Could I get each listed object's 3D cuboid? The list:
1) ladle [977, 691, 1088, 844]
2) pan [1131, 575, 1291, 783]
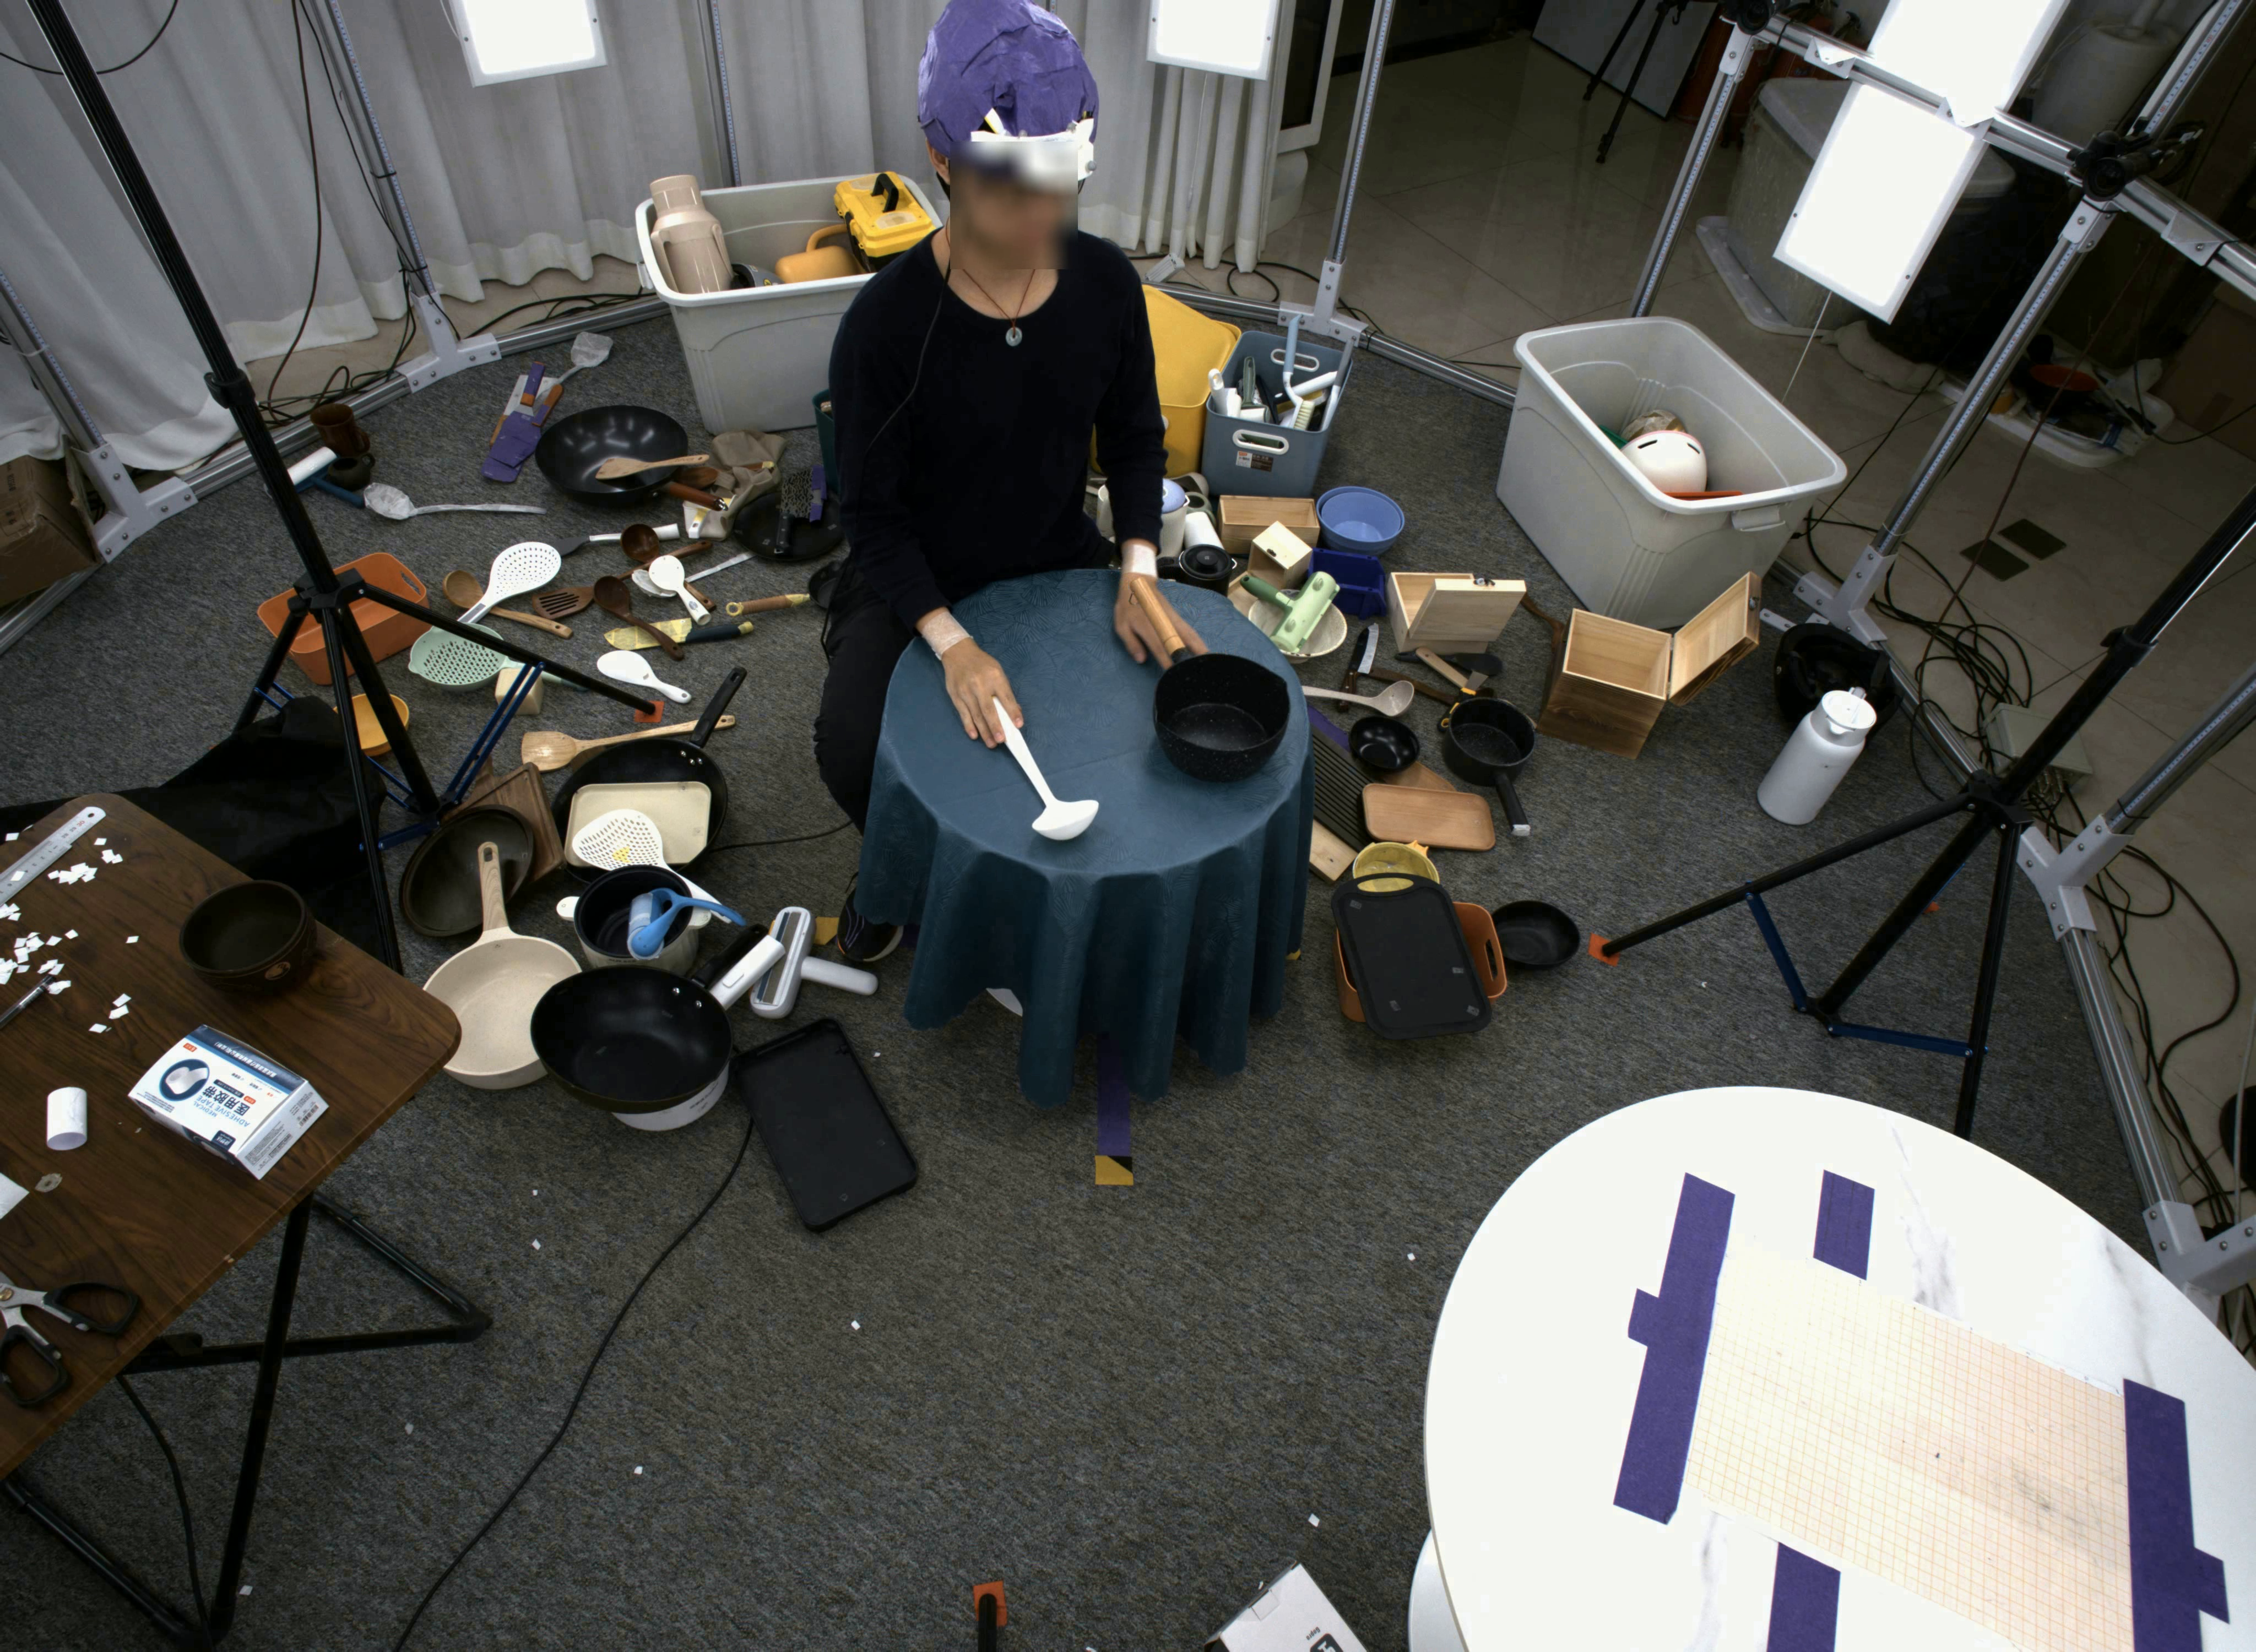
[{"bbox_3d":[-0.138,-0.085,1.693,0.090,0.068,0.300,-27,54,-6],"label":"ladle"},{"bbox_3d":[0.087,-0.205,1.783,0.208,0.105,0.350,-21,55,-19],"label":"pan"}]
